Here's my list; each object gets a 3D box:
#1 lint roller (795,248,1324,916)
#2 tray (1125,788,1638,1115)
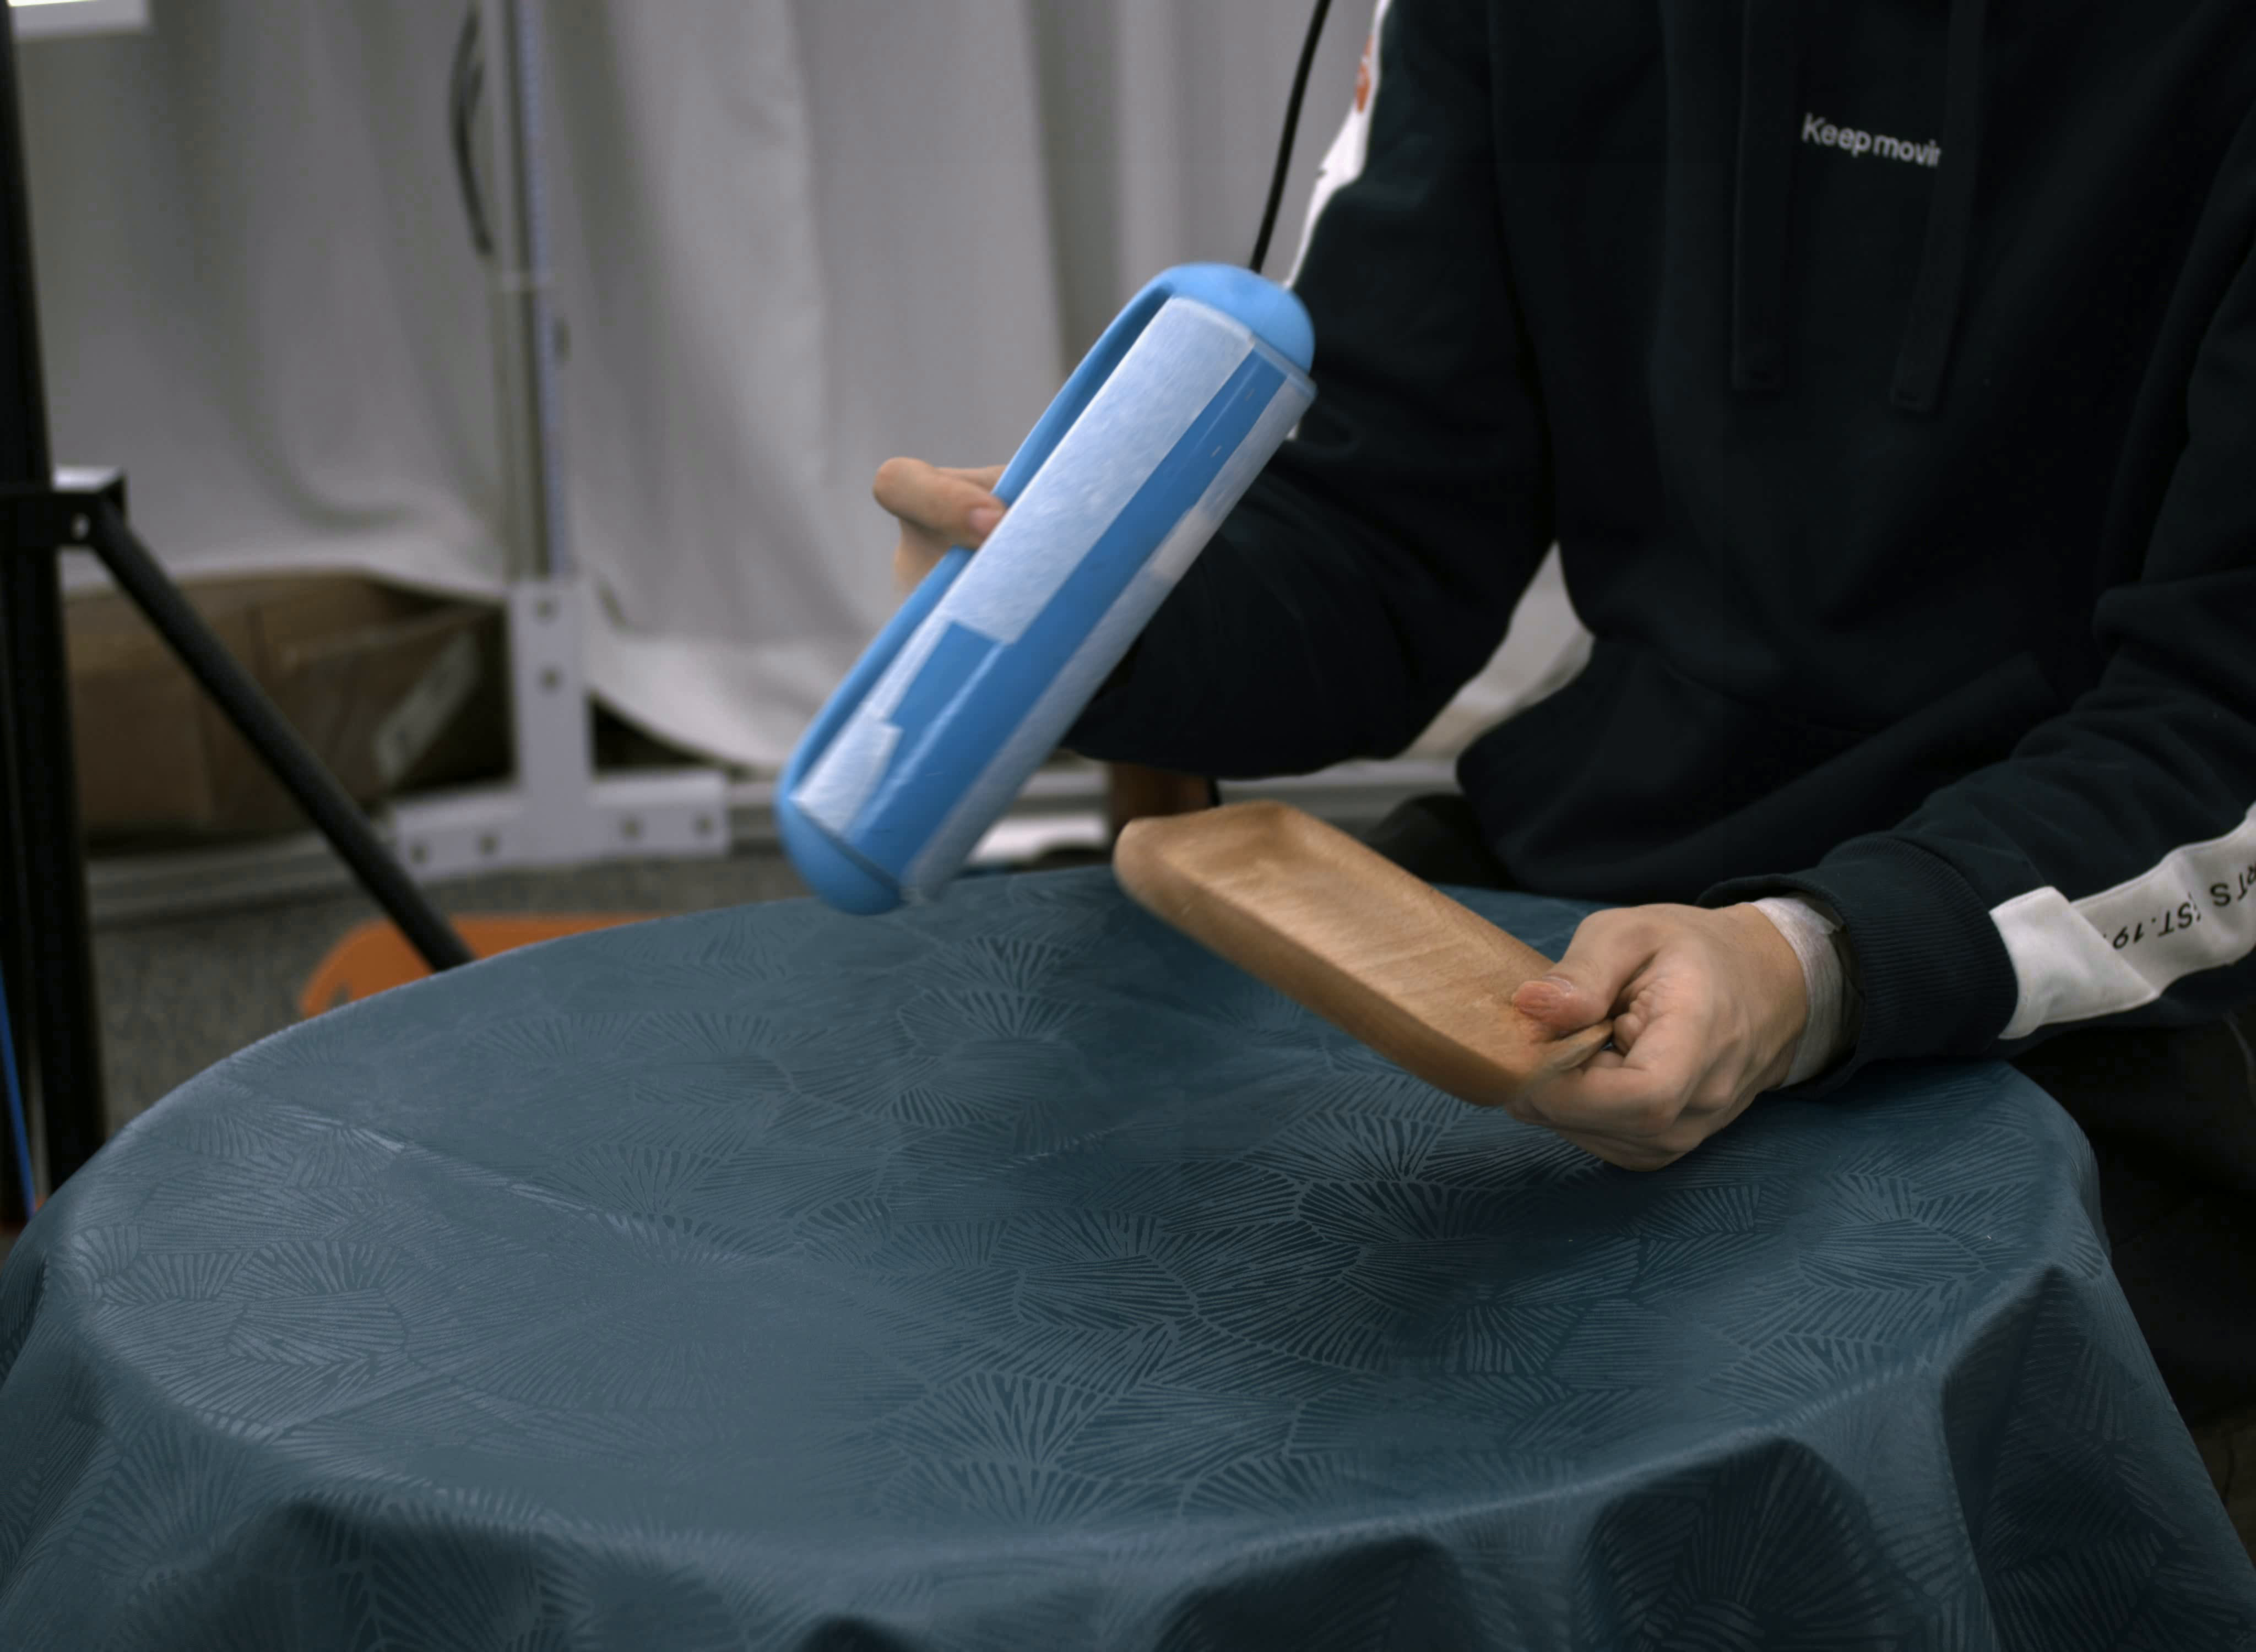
[{"bbox_3d":[-0.023,-0.073,1.646,0.067,0.229,0.181,34,0,-4],"label":"lint roller"},{"bbox_3d":[0.073,0.033,1.465,0.131,0.023,0.248,36,8,10],"label":"tray"}]
